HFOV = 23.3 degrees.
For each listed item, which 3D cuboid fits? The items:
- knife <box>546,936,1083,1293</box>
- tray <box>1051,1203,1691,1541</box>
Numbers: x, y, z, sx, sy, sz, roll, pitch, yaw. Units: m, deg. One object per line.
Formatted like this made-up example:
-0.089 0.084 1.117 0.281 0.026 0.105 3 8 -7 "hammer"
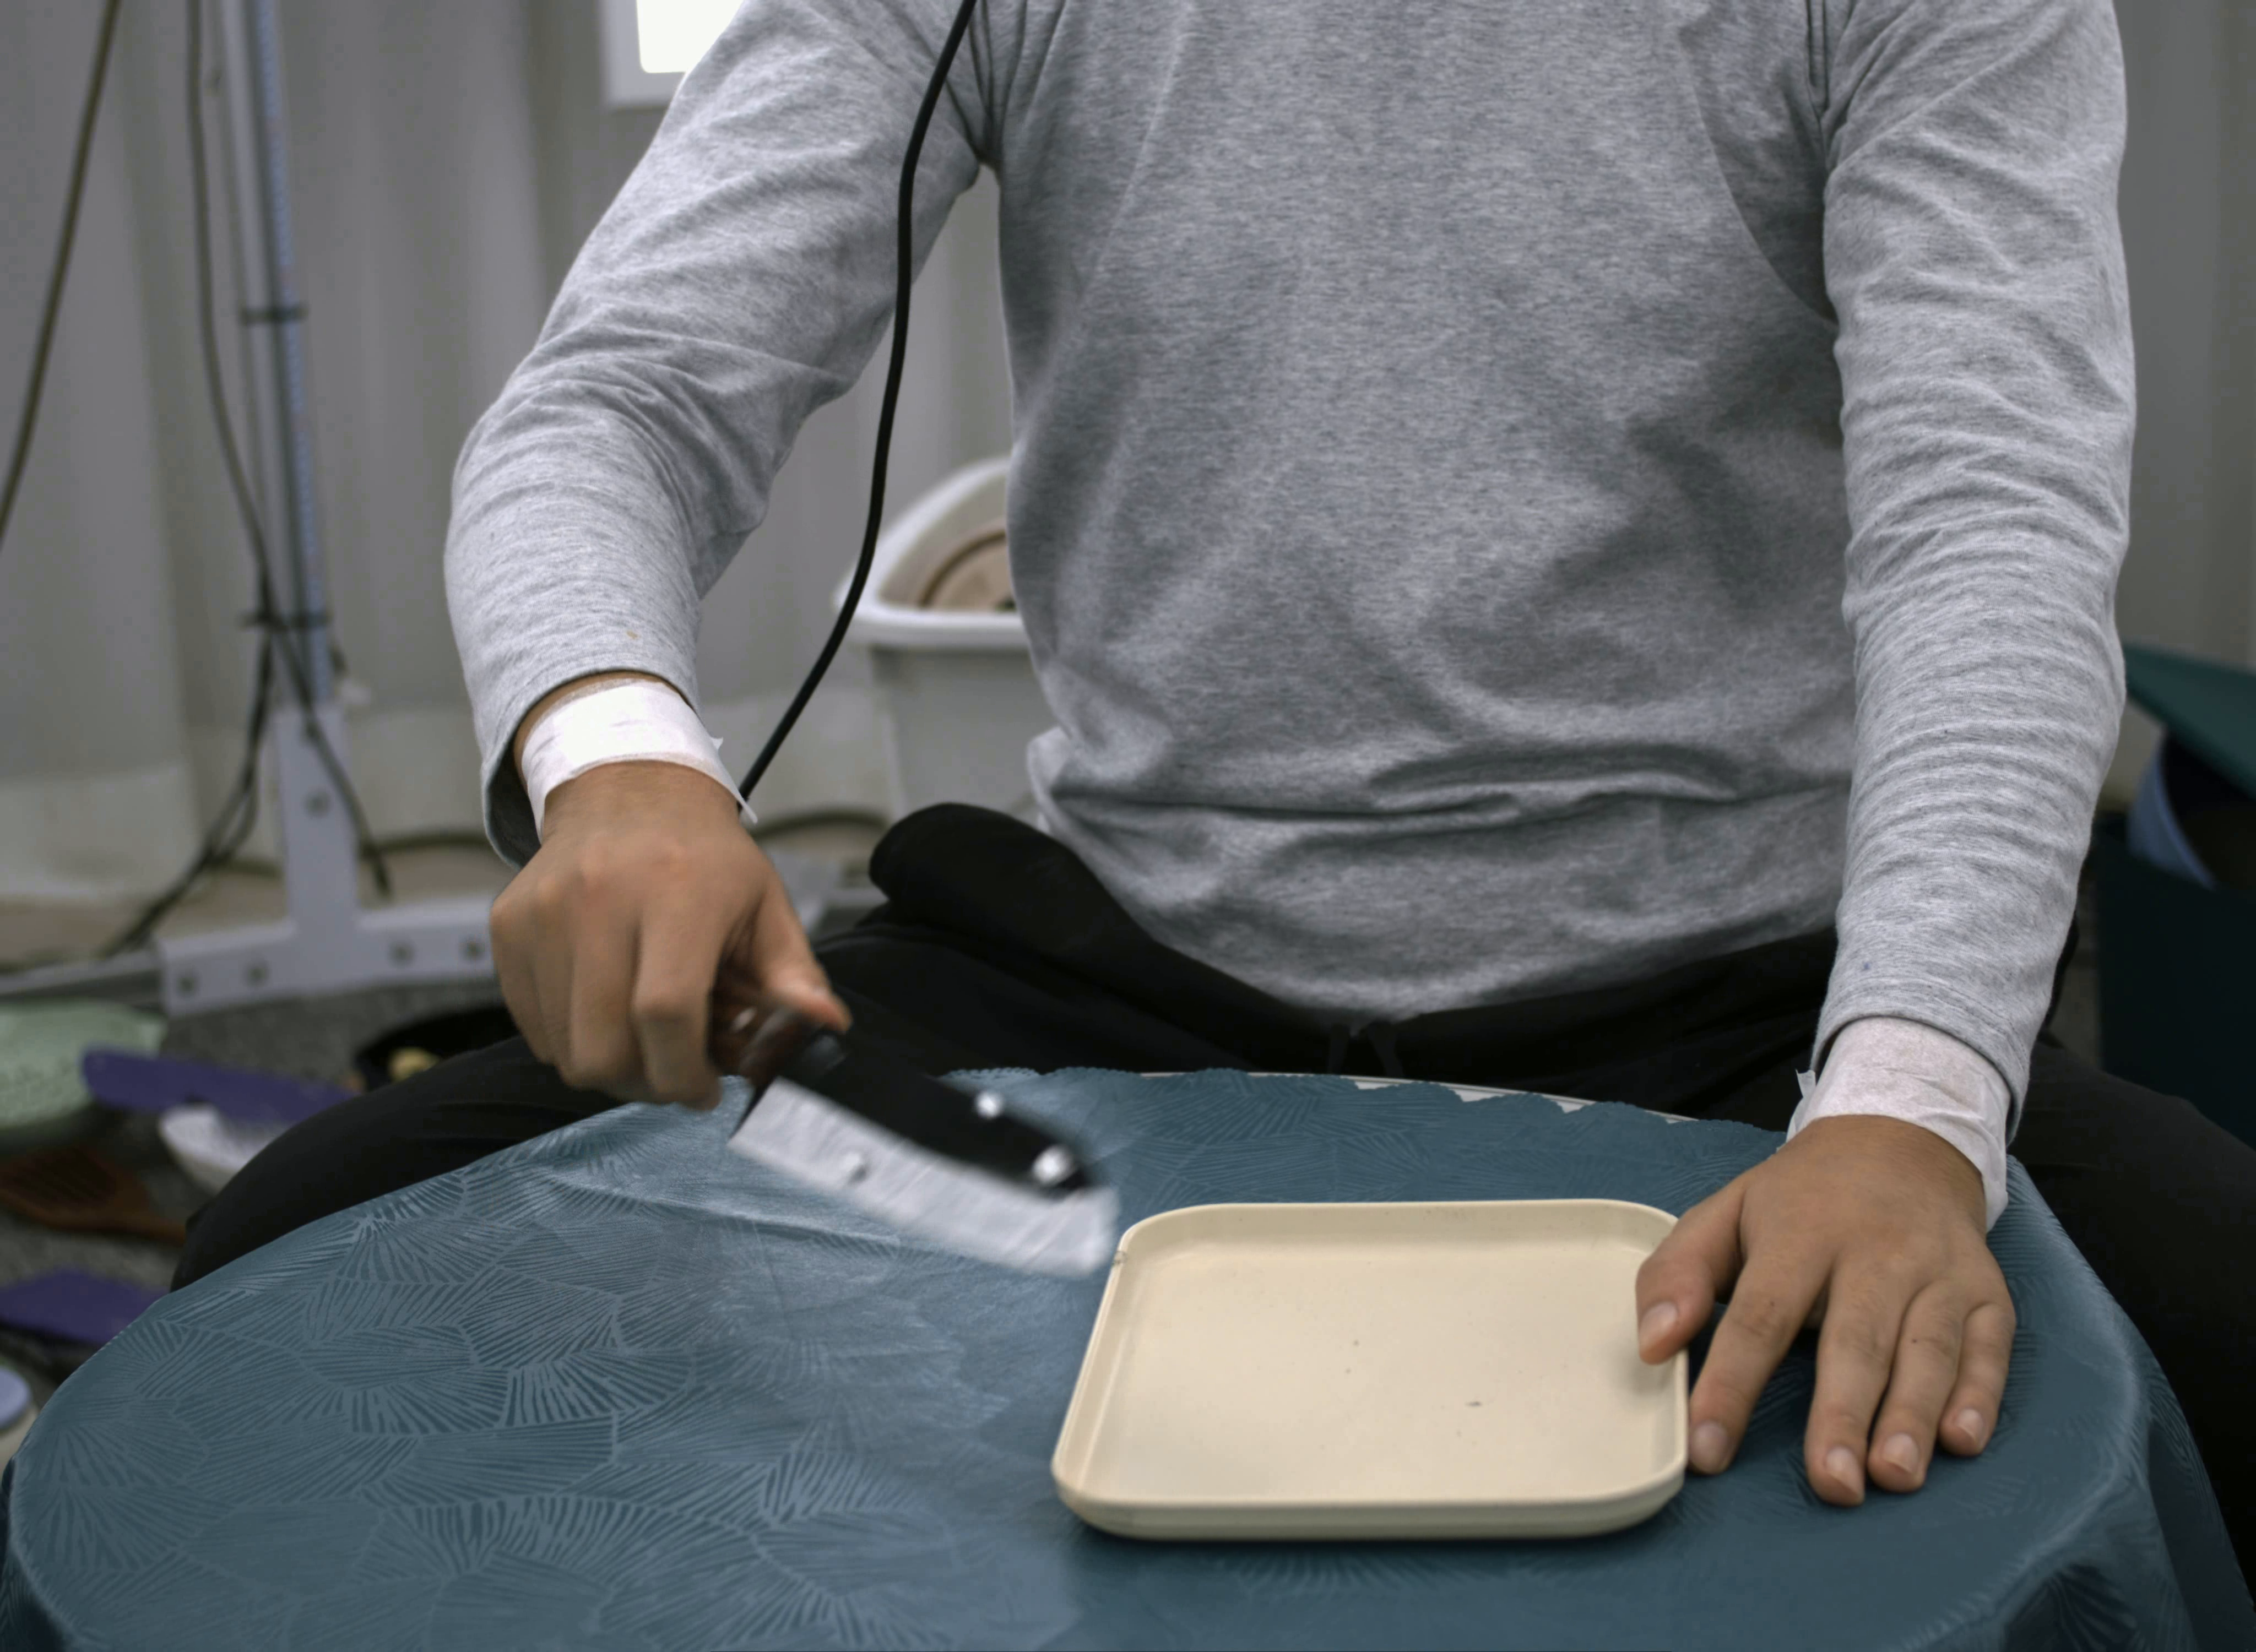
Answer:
-0.090 0.079 1.533 0.020 0.050 0.291 42 -9 -35 "knife"
0.073 0.152 1.531 0.171 0.017 0.241 -1 15 7 "tray"
